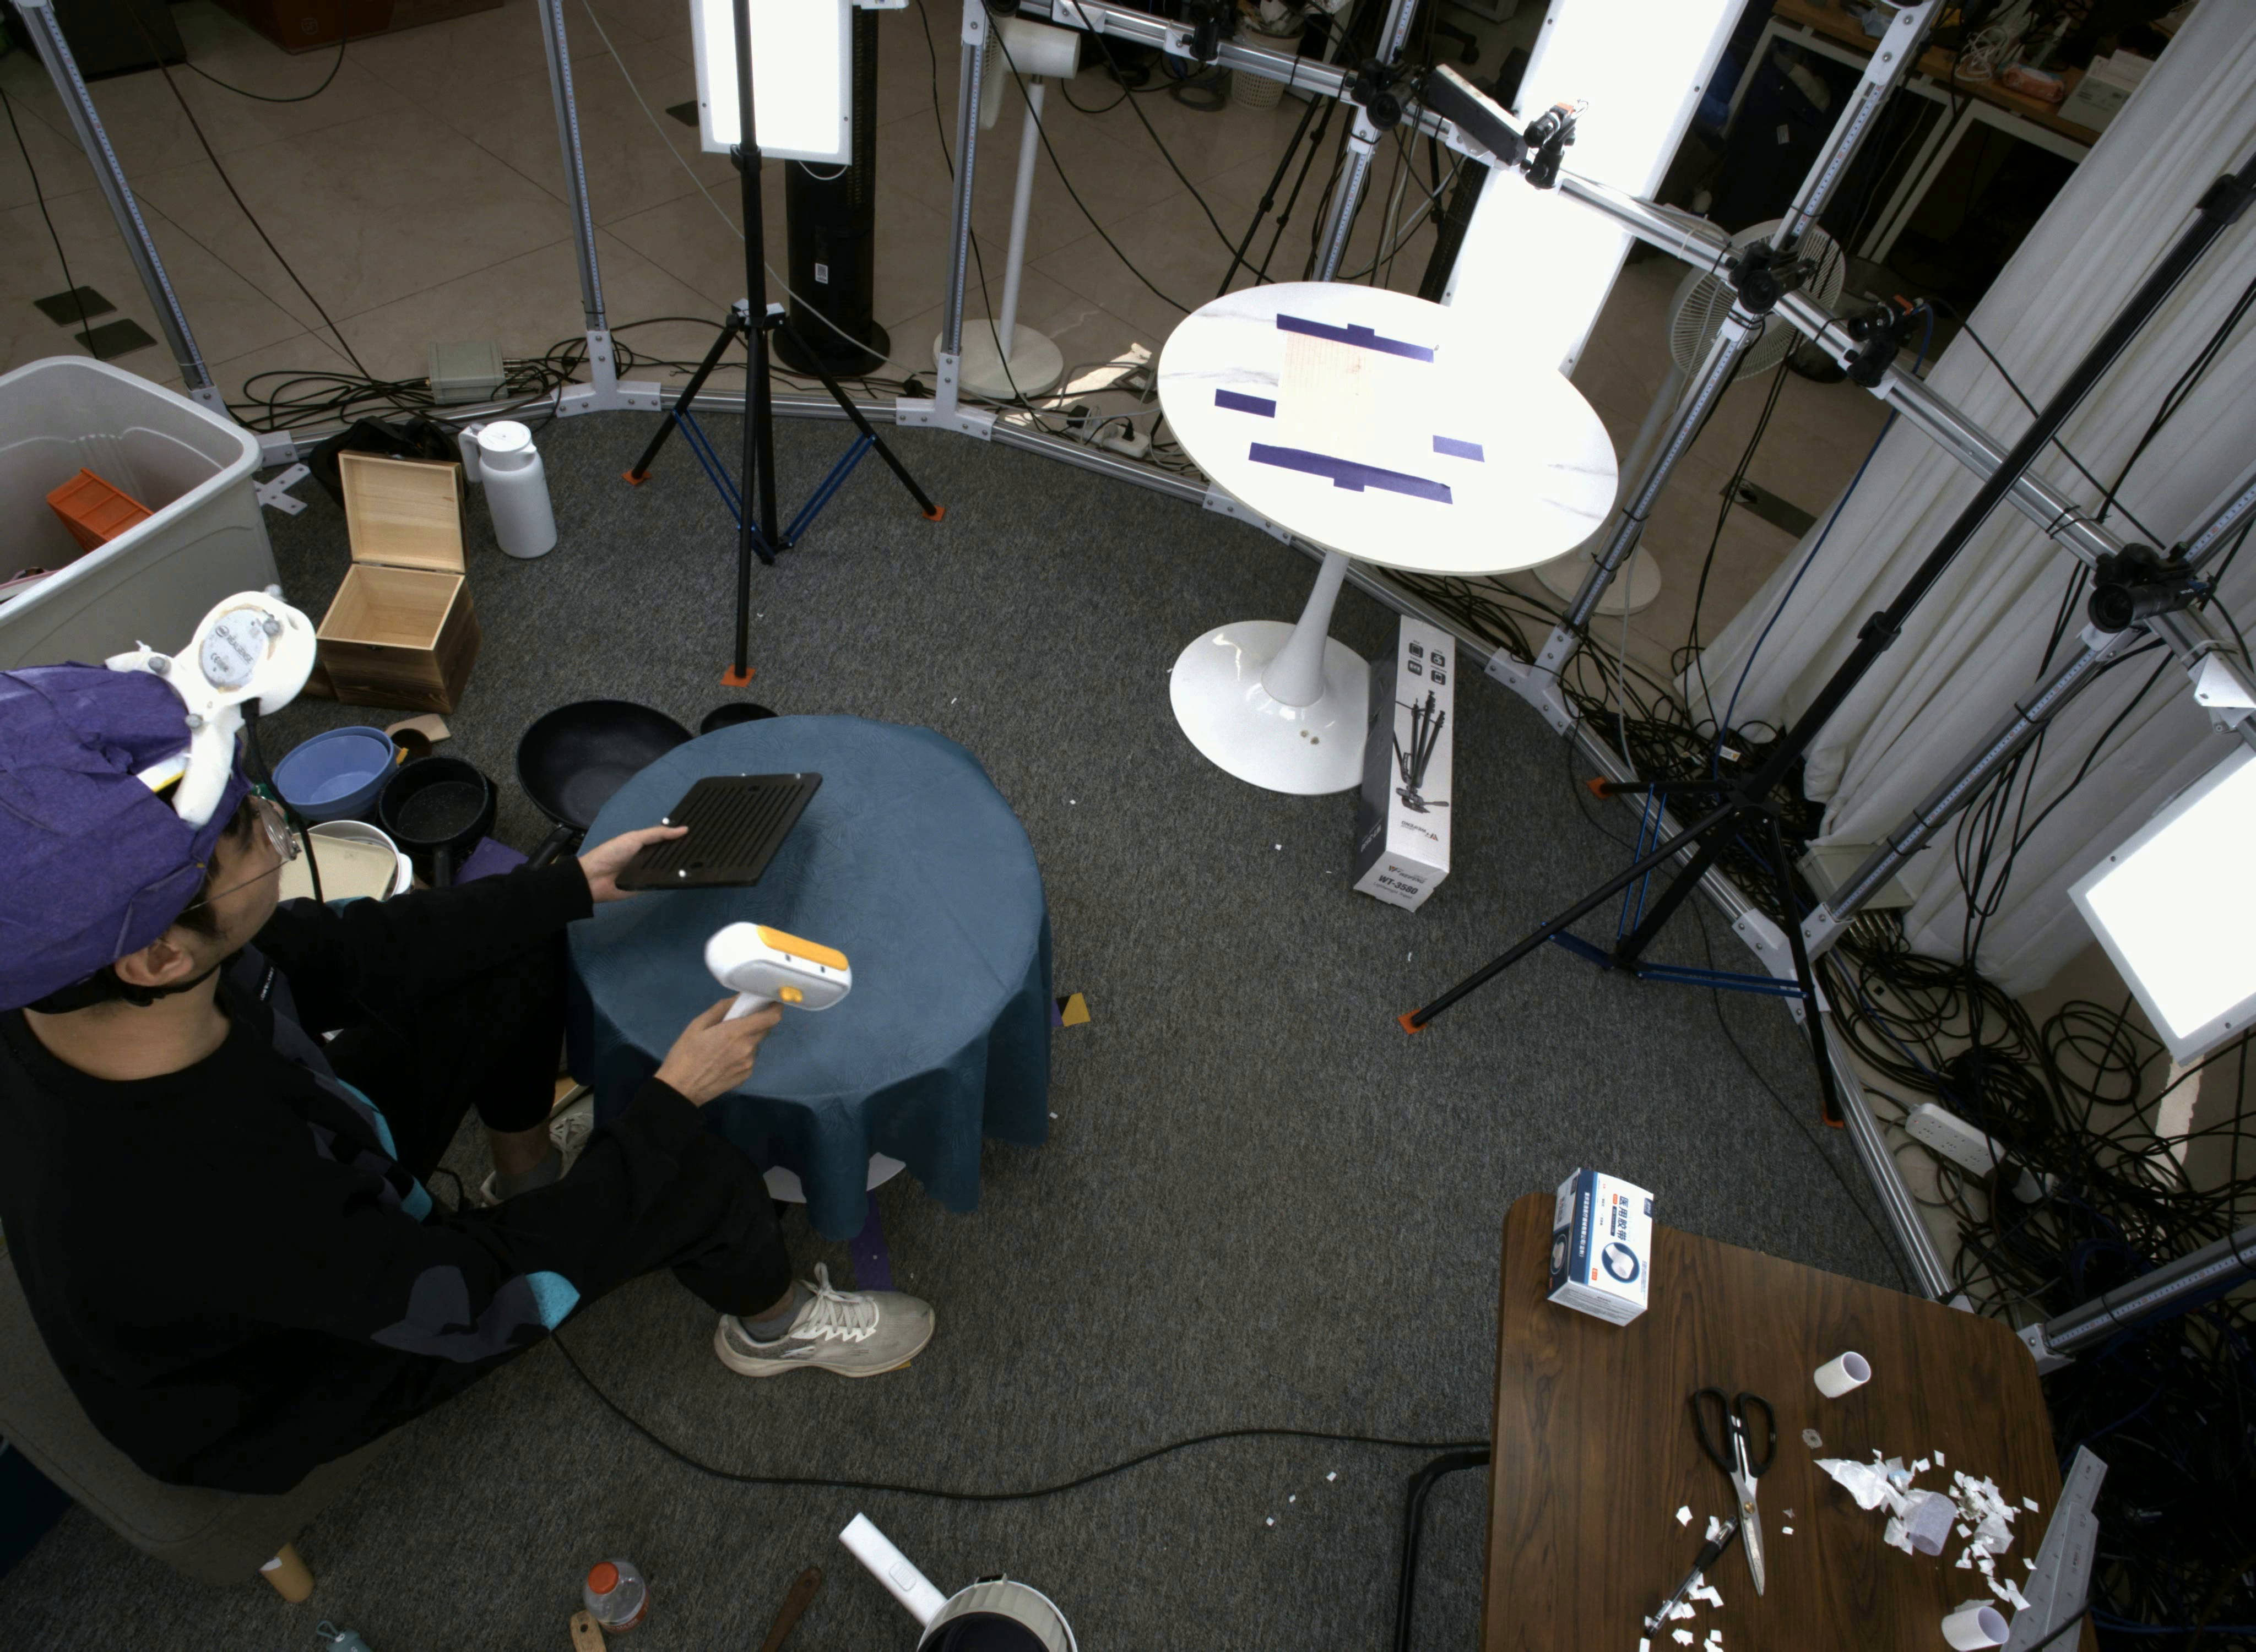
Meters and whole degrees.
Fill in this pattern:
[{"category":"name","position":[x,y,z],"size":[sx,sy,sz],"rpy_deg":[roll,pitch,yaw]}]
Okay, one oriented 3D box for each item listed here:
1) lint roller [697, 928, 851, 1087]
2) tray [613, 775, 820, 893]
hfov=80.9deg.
[{"category":"lint roller","position":[-0.408,0.195,1.394],"size":[0.192,0.197,0.072],"rpy_deg":[-45,67,11]},{"category":"tray","position":[-0.494,0.005,1.574],"size":[0.168,0.019,0.300],"rpy_deg":[-1,26,4]}]
